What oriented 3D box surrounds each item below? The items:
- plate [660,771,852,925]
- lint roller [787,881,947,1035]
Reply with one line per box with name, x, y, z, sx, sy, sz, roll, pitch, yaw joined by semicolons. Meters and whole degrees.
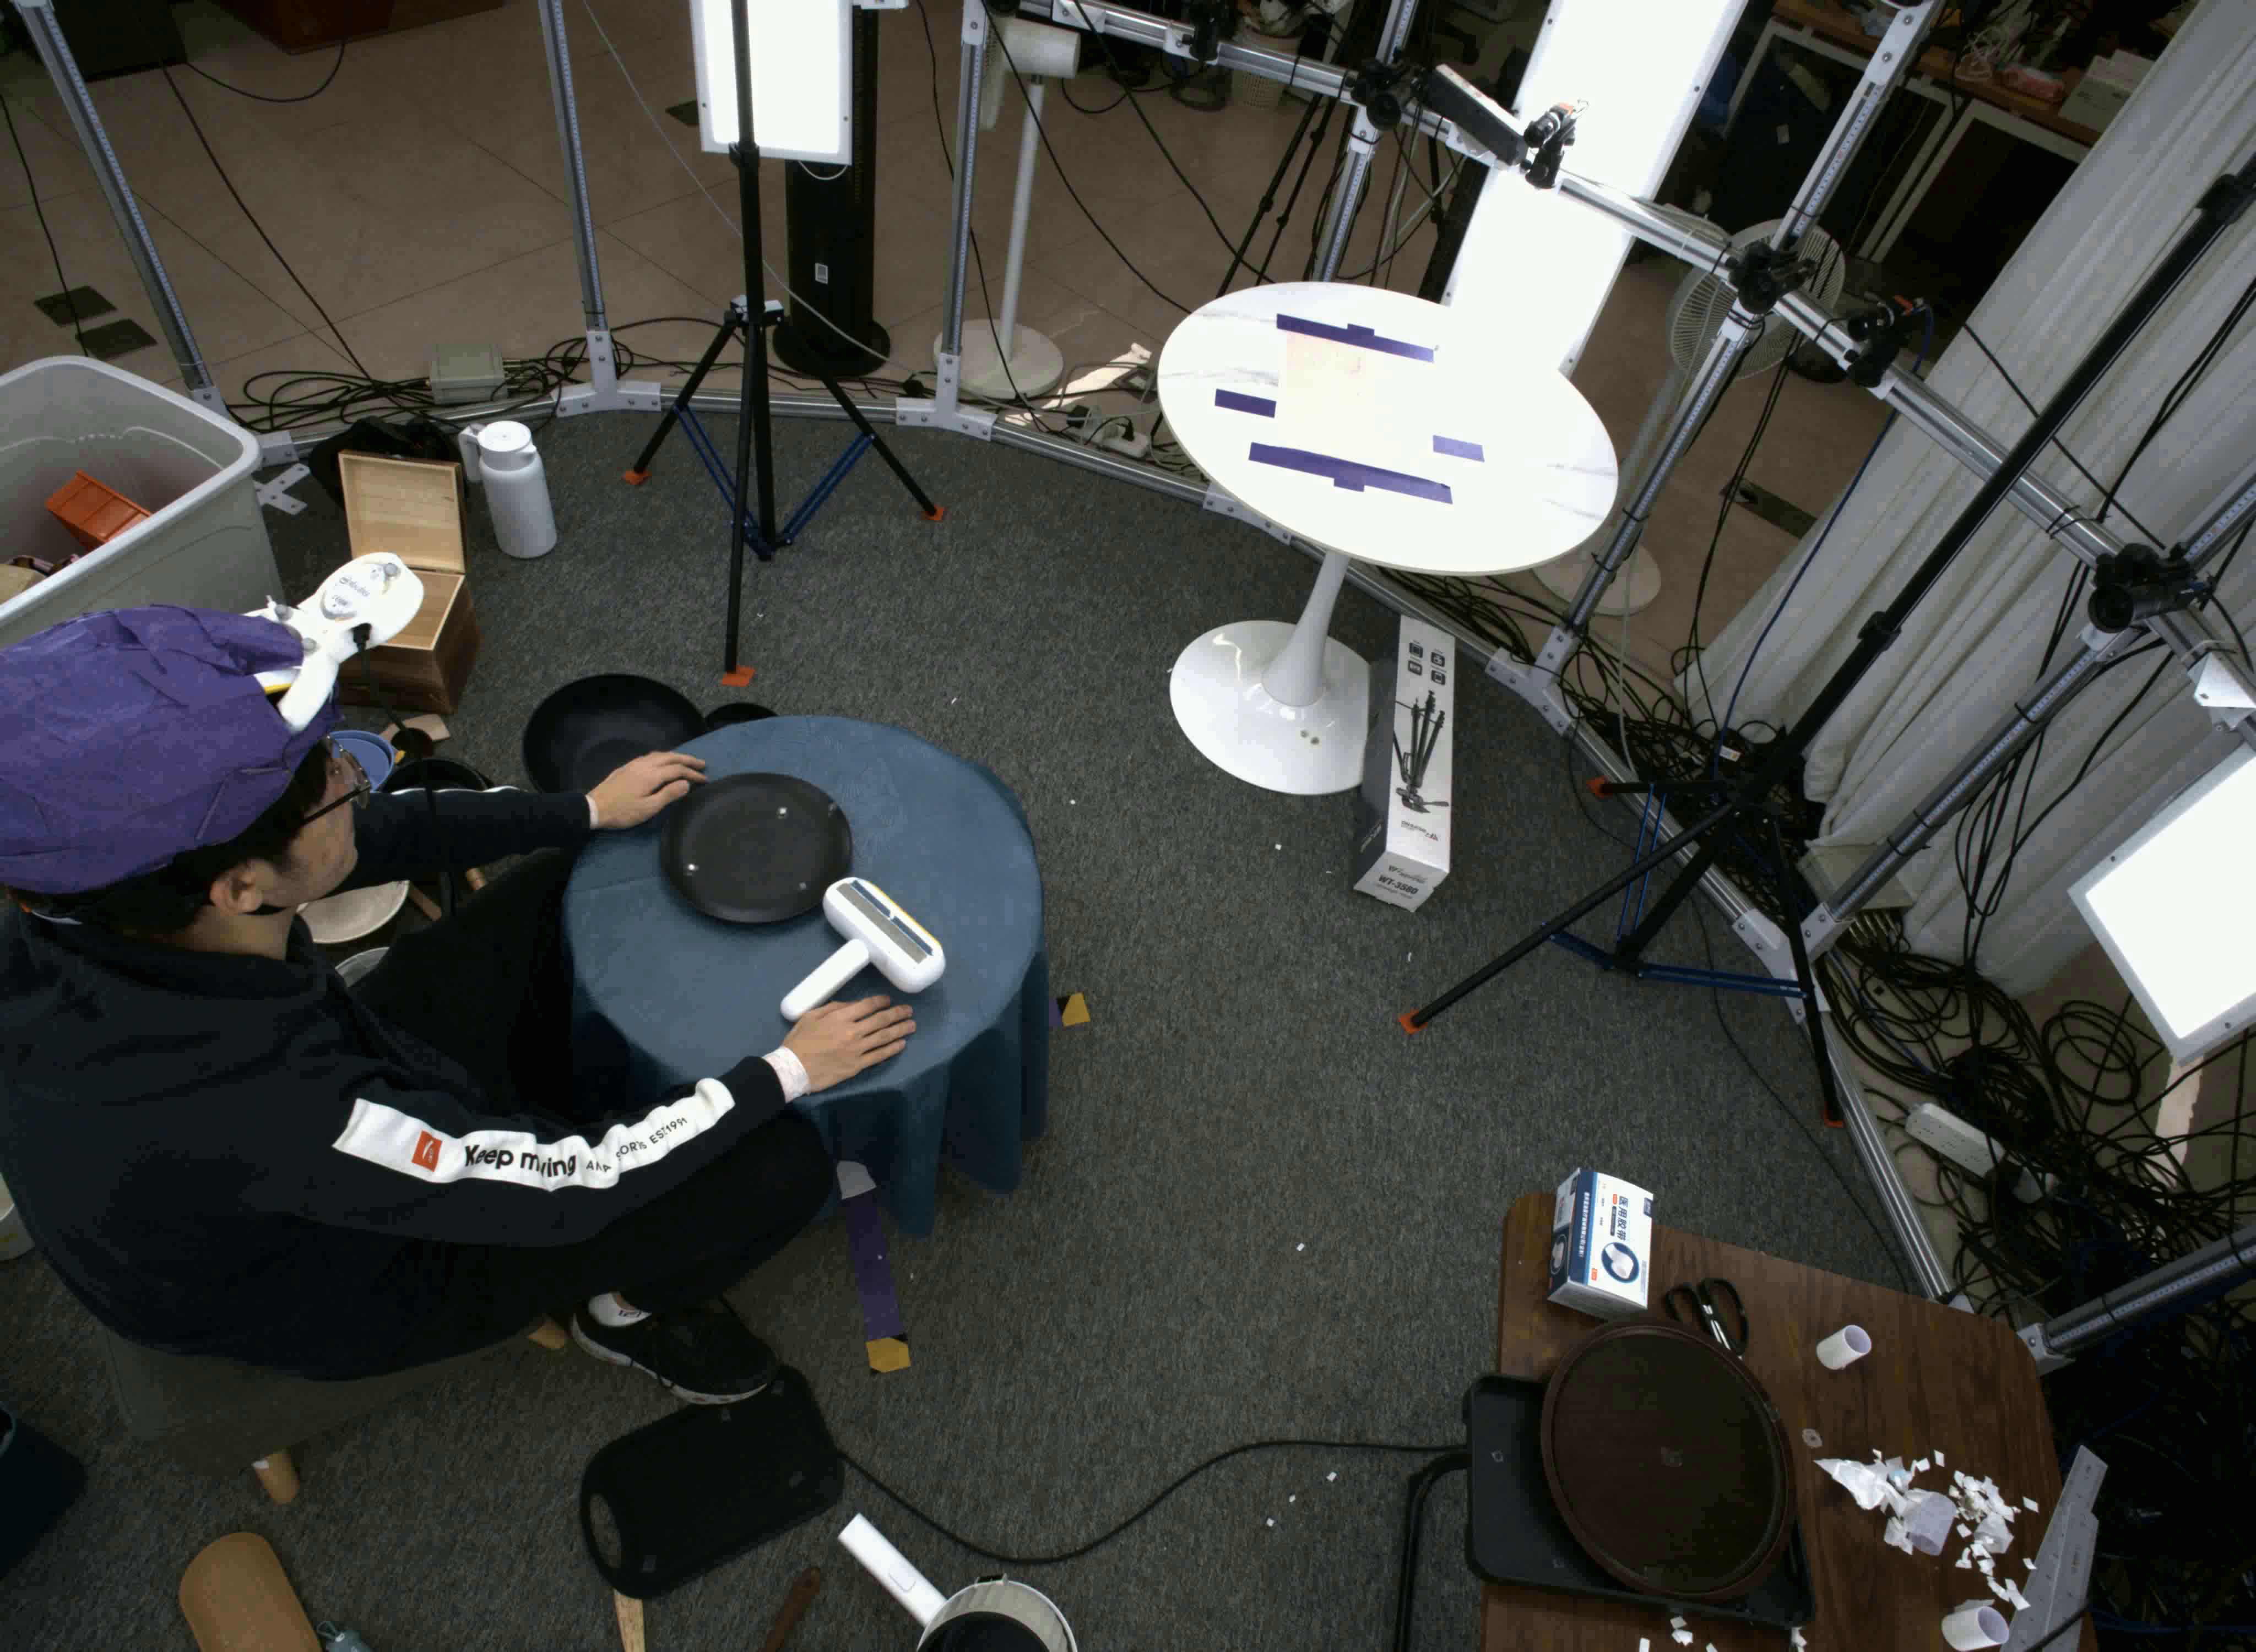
plate;-0.481;0.029;1.679;0.244;0.024;0.240;8;53;-9
lint roller;-0.342;0.177;1.601;0.192;0.076;0.187;-37;62;-17
